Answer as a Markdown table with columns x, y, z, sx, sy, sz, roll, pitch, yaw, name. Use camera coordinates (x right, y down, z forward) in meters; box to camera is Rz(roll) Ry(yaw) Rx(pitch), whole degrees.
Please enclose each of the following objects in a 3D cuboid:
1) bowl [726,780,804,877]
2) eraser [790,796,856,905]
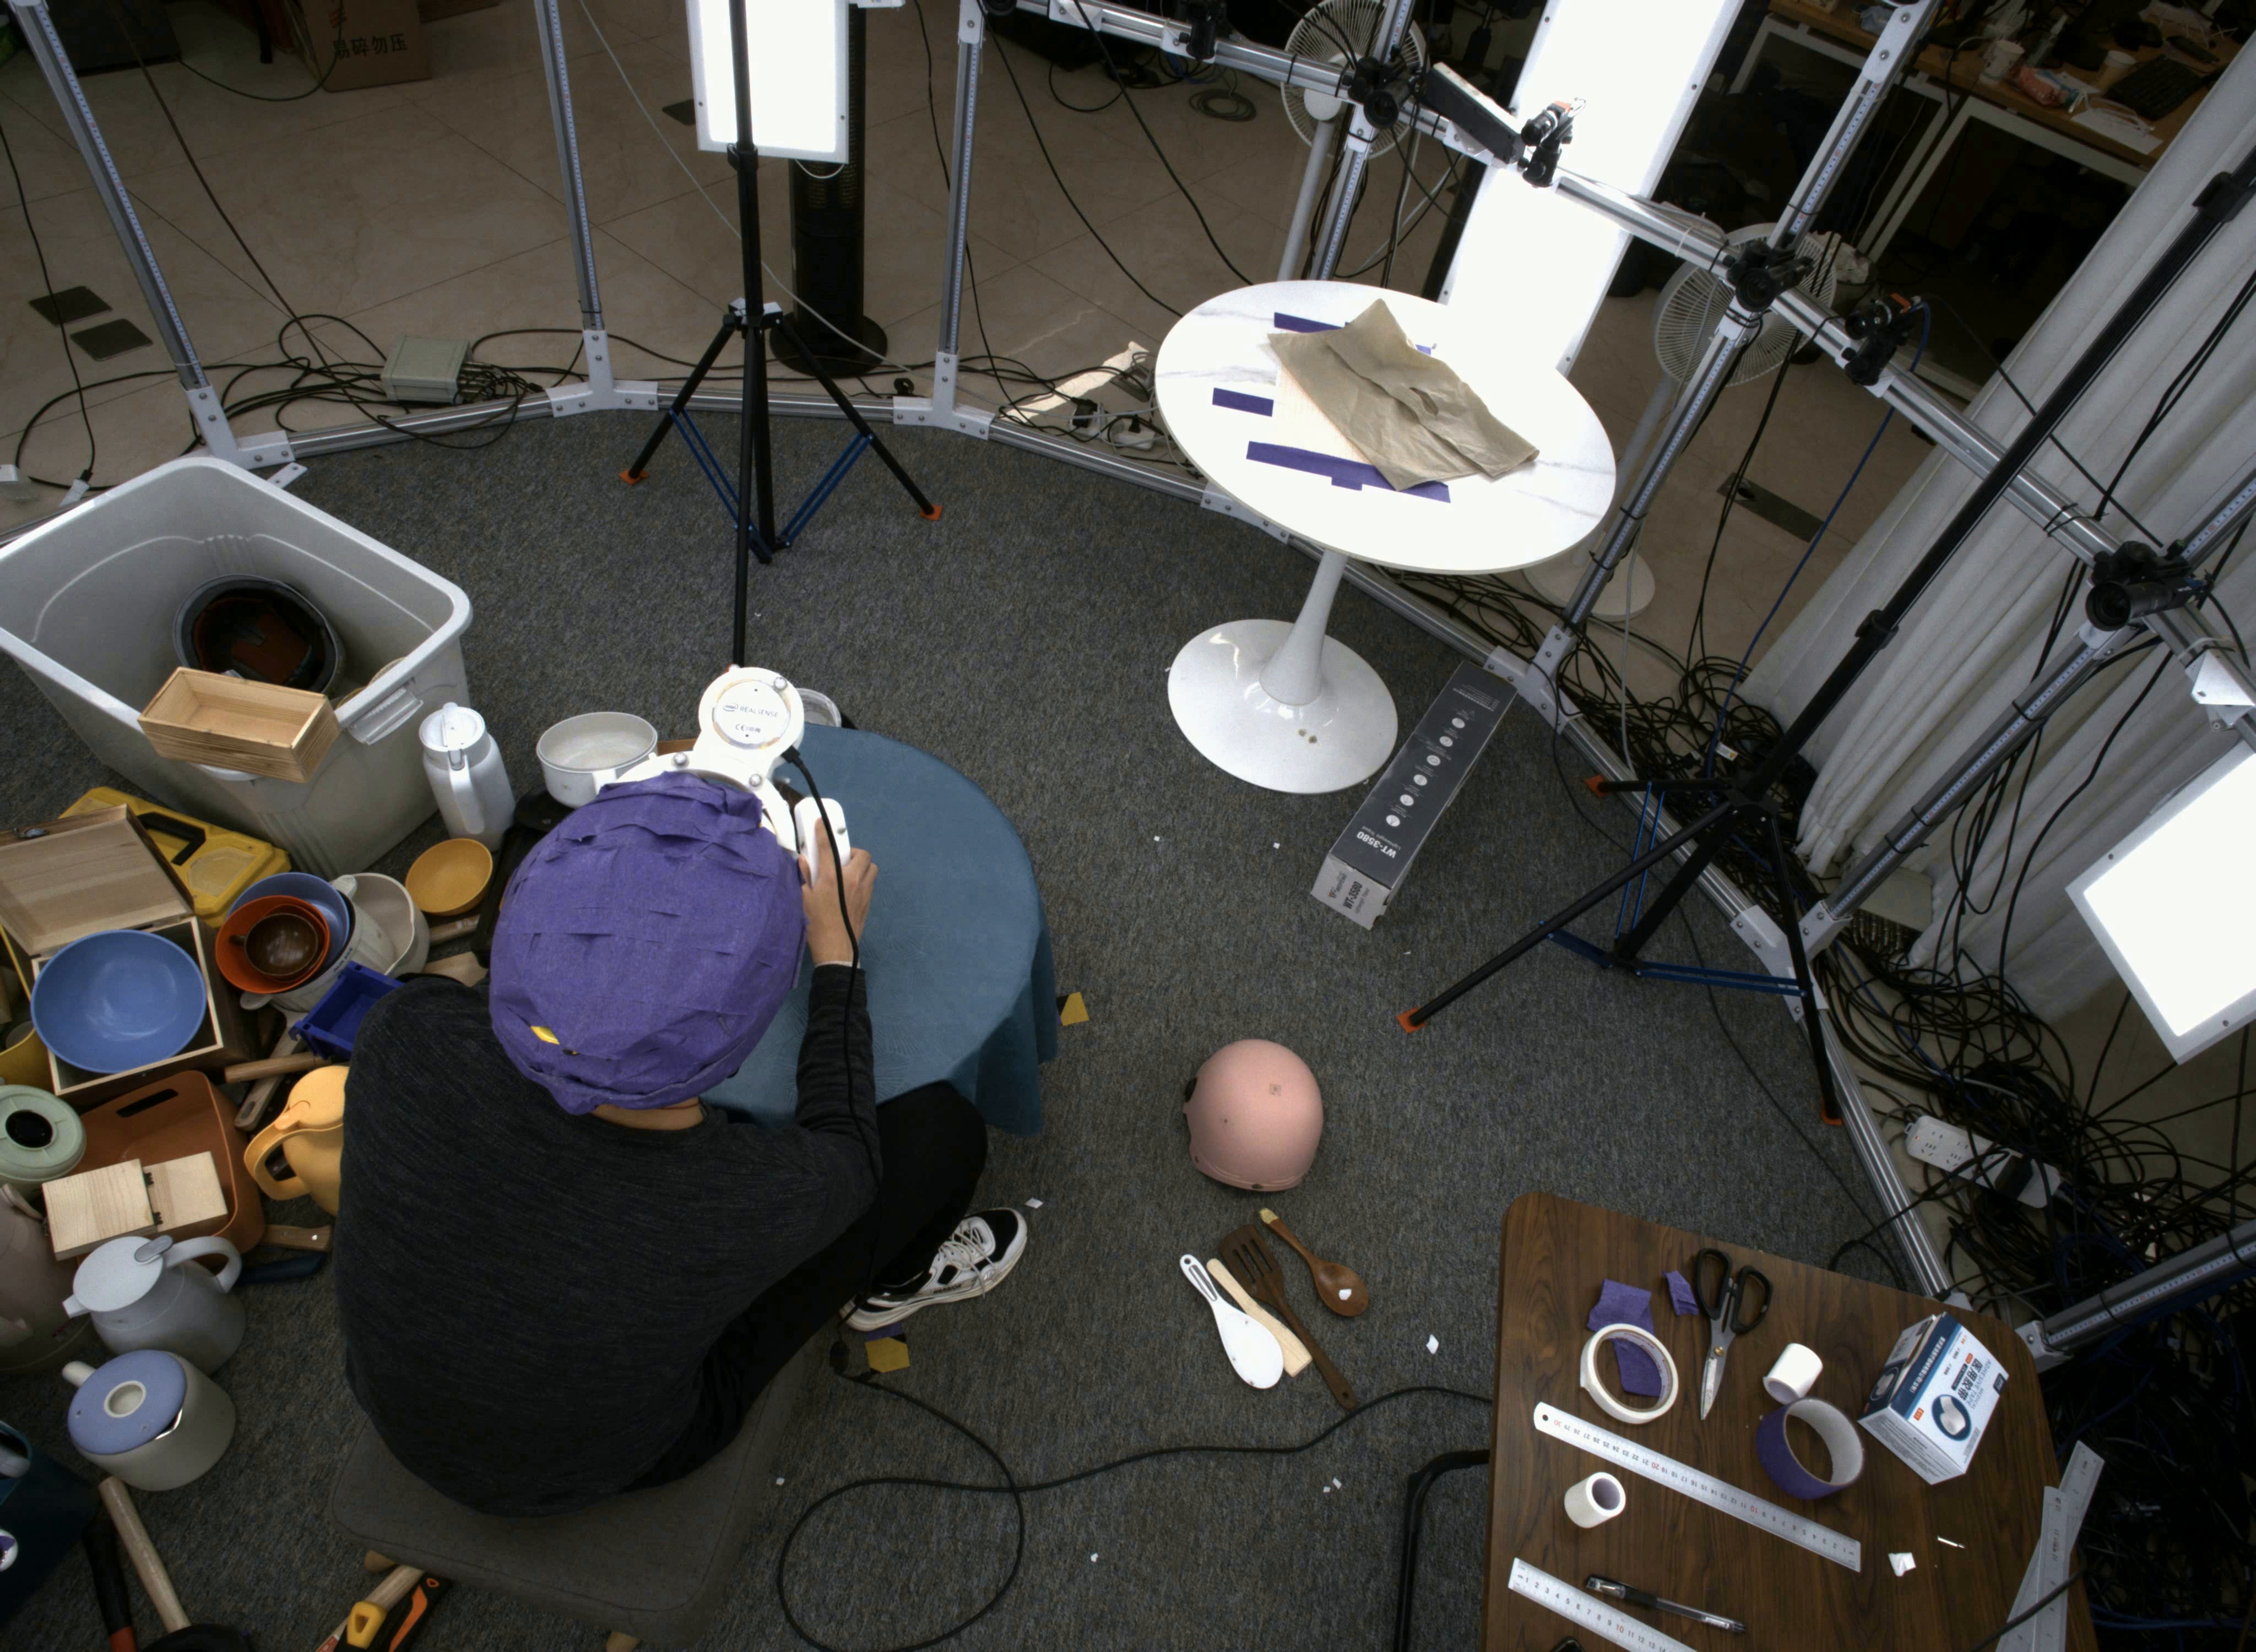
| x | y | z | sx | sy | sz | roll | pitch | yaw | name |
| --- | --- | --- | --- | --- | --- | --- | --- | --- | --- |
| -0.432 | 0.009 | 1.585 | 0.071 | 0.117 | 0.117 | 34 | 48 | -16 | bowl |
| -0.365 | 0.028 | 1.546 | 0.065 | 0.034 | 0.131 | 0 | 73 | -48 | eraser |
